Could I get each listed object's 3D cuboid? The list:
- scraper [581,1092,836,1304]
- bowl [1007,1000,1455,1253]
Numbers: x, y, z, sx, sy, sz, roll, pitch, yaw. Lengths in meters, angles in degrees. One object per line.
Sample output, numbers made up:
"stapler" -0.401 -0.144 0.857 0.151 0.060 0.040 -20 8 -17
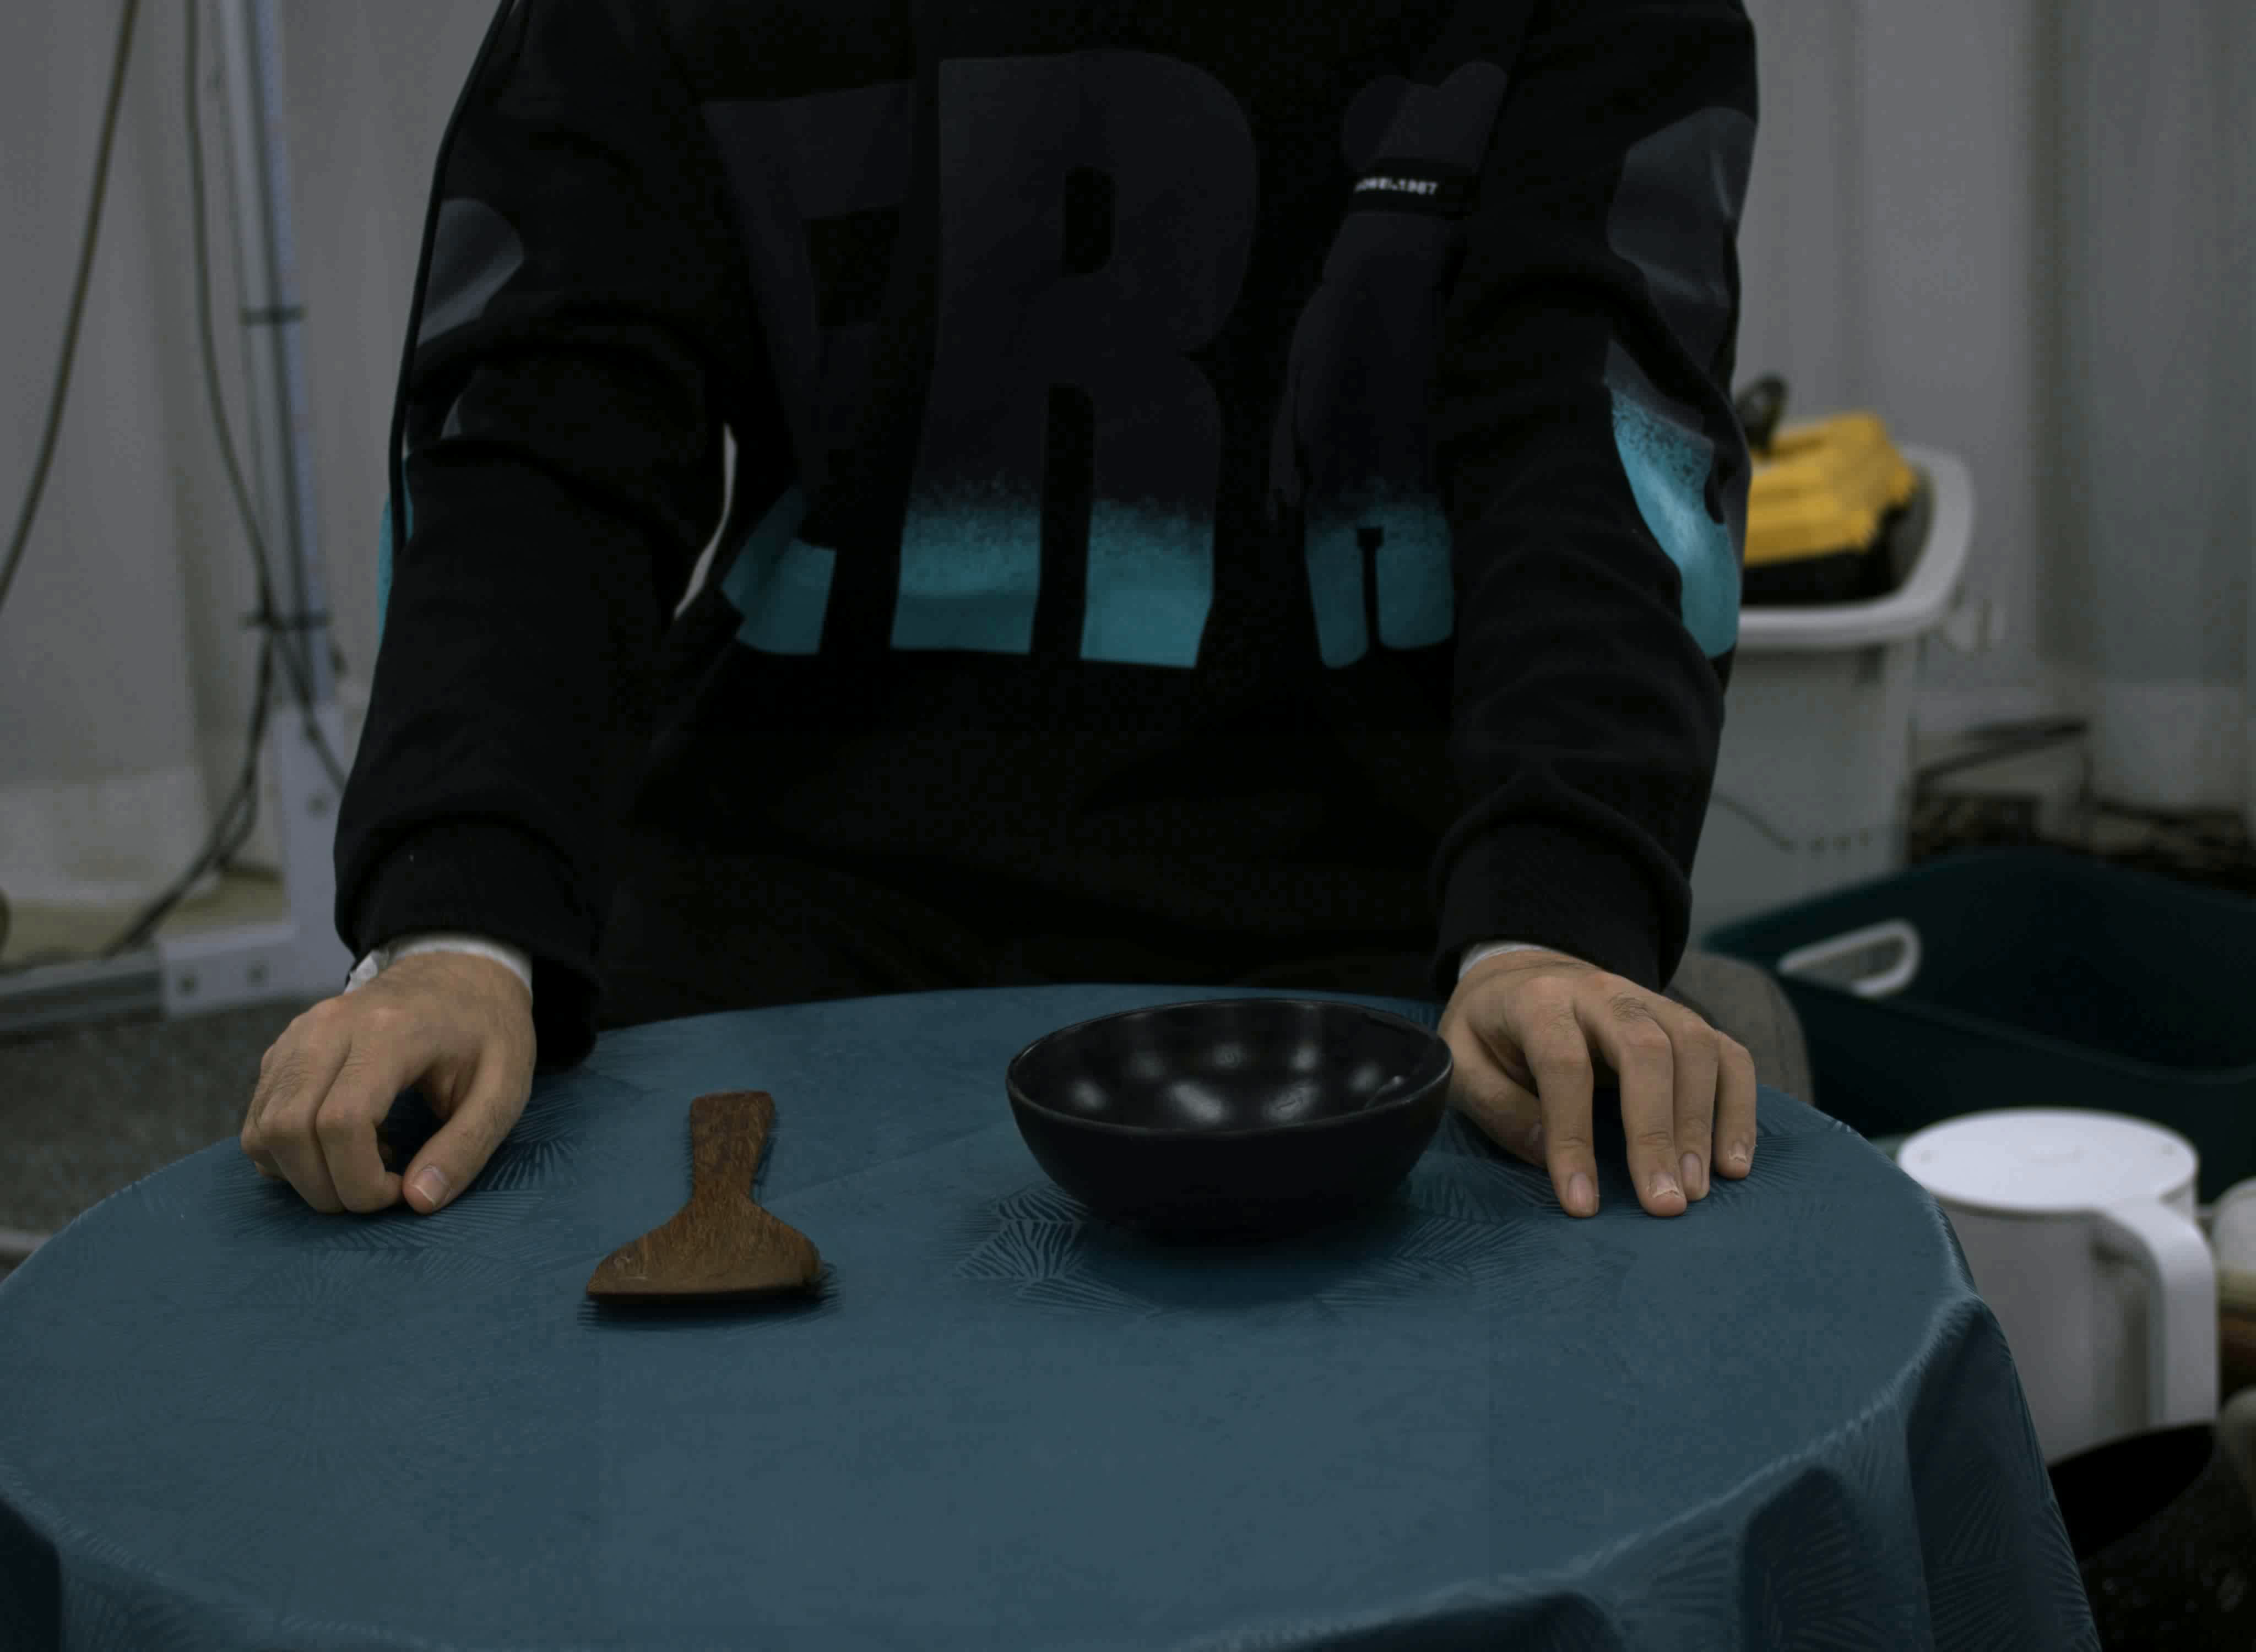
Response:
"scraper" -0.128 0.116 1.718 0.075 0.011 0.212 -2 14 -1
"bowl" 0.034 0.097 1.684 0.139 0.049 0.141 -5 14 1
